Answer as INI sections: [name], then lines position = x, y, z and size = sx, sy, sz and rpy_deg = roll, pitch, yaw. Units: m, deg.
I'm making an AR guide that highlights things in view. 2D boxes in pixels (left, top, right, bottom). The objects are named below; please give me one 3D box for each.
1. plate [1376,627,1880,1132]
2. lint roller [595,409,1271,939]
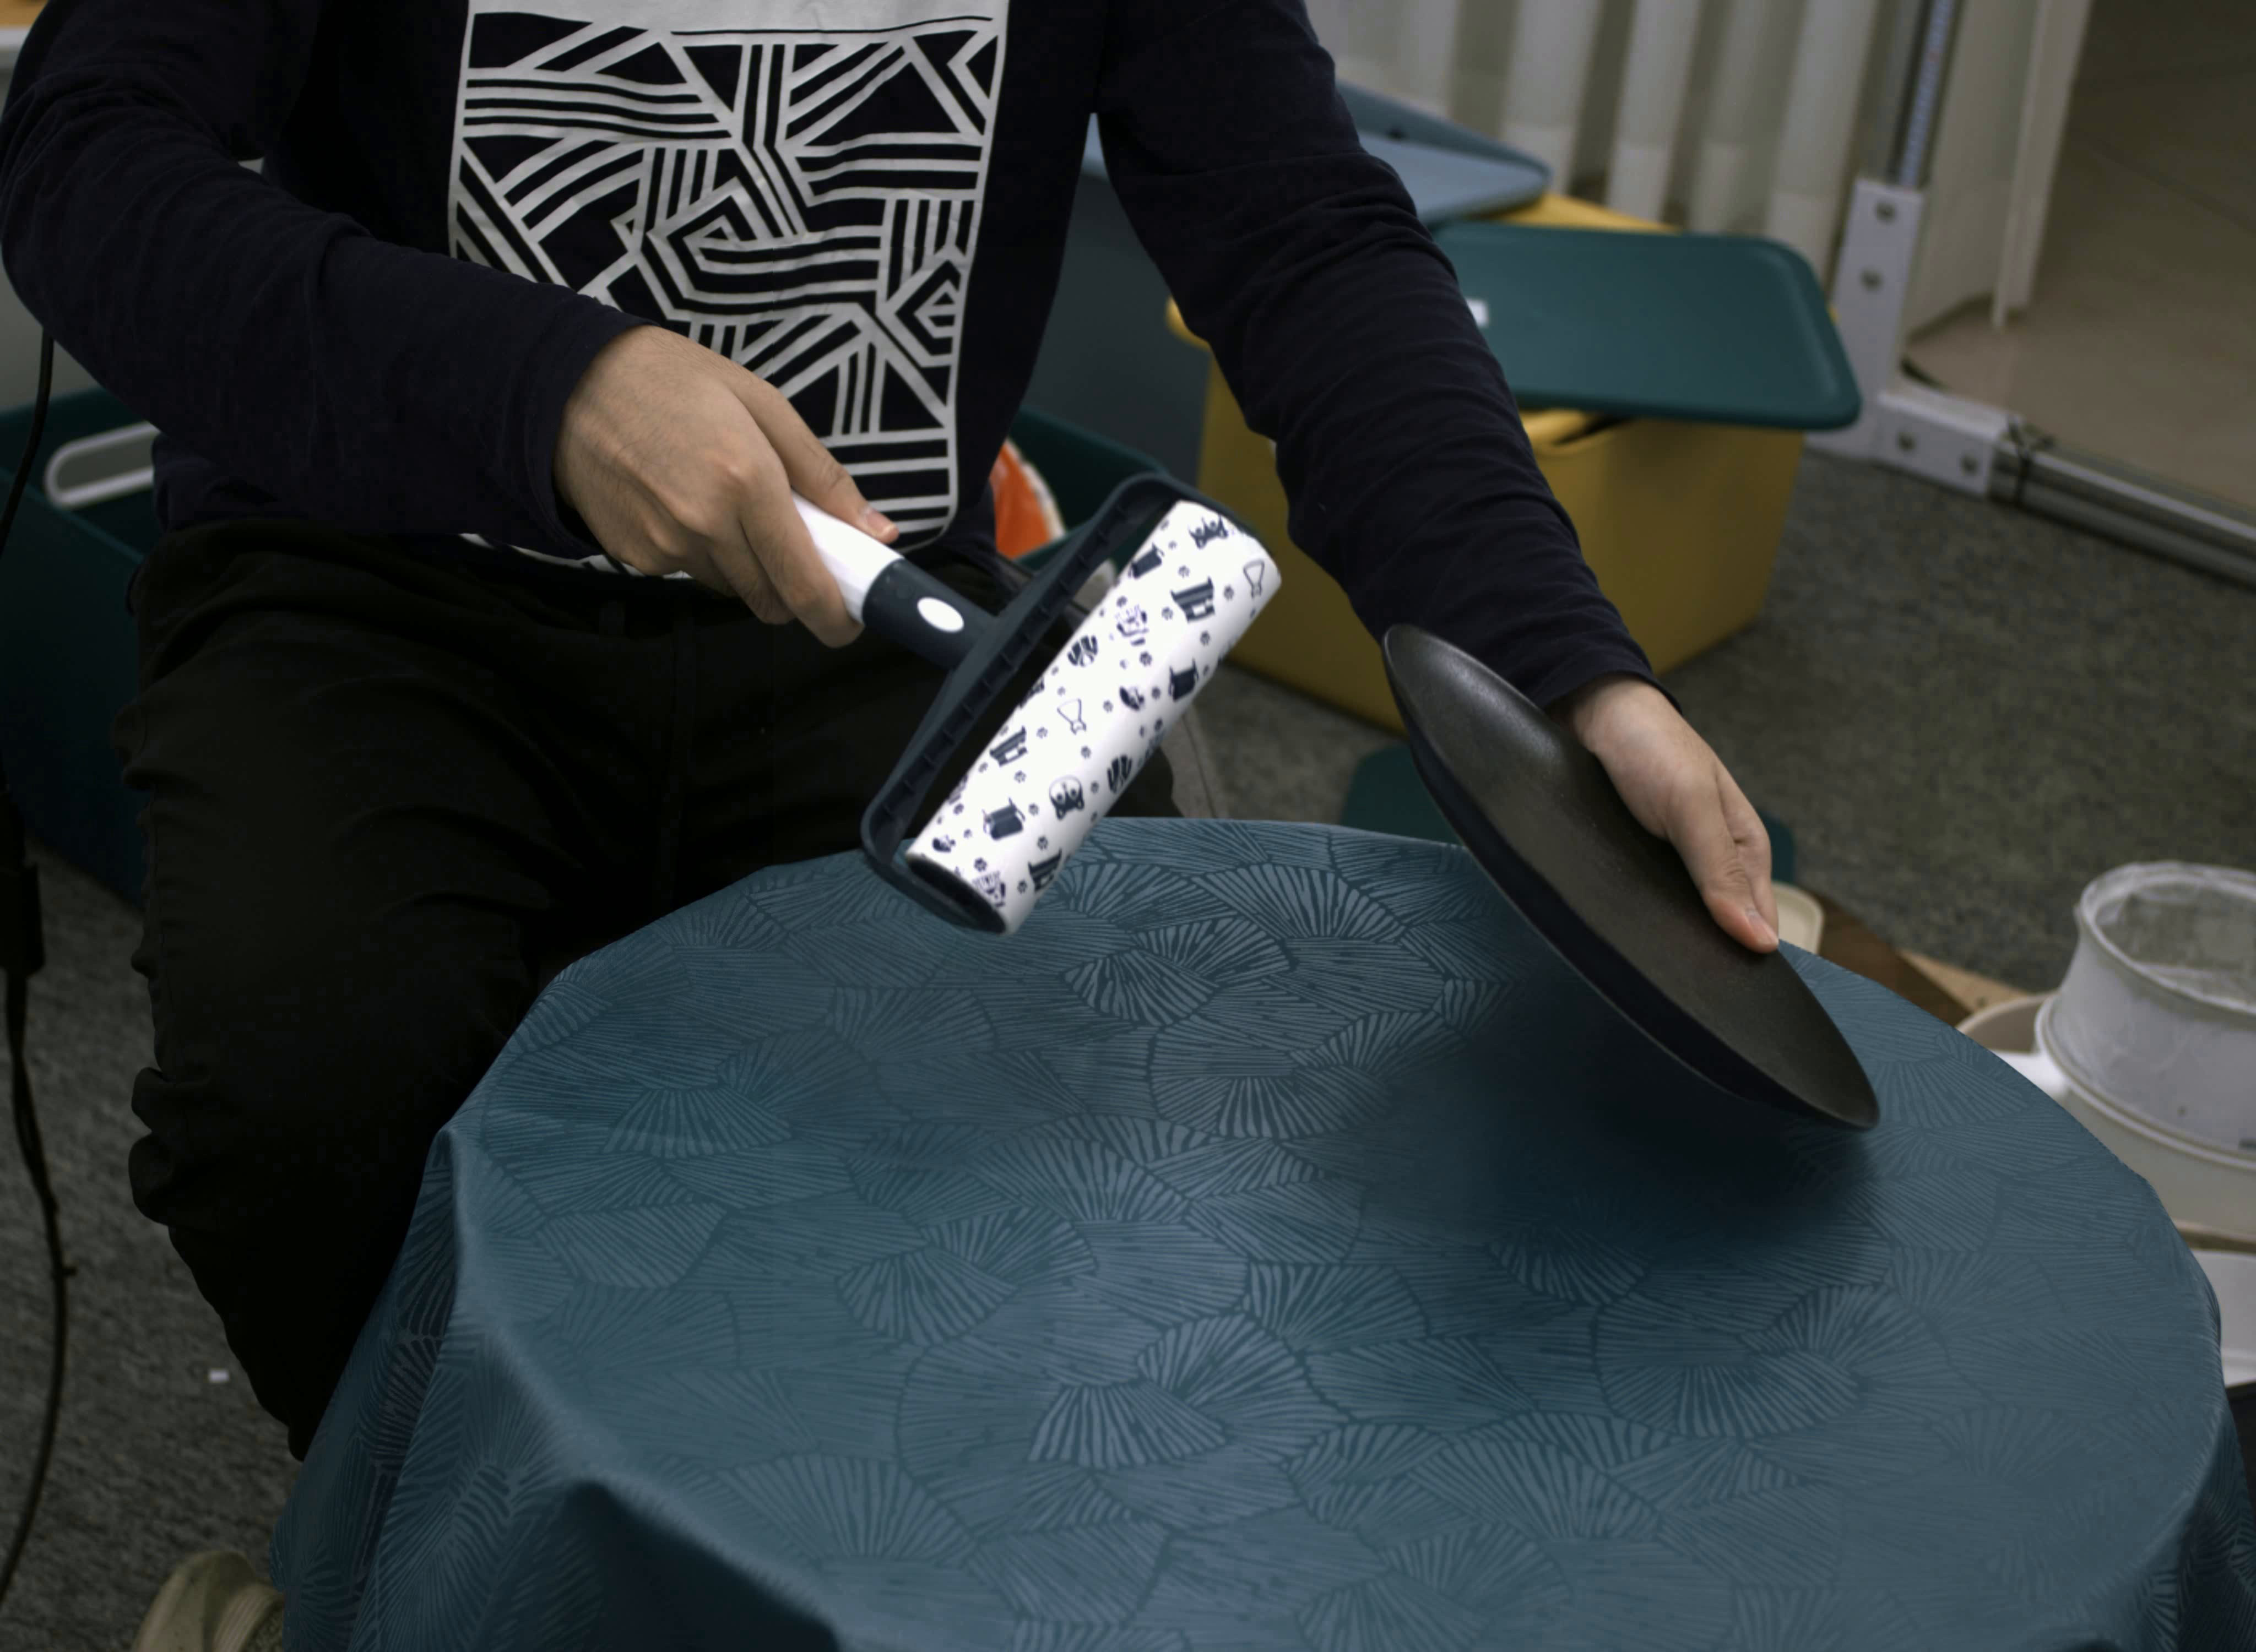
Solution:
[plate]
position = 0.169, 0.023, 1.863
size = 0.243, 0.023, 0.245
rpy_deg = 41, 15, -13
[lint roller]
position = -0.094, -0.085, 1.882
size = 0.248, 0.050, 0.176
rpy_deg = 31, 74, 21
